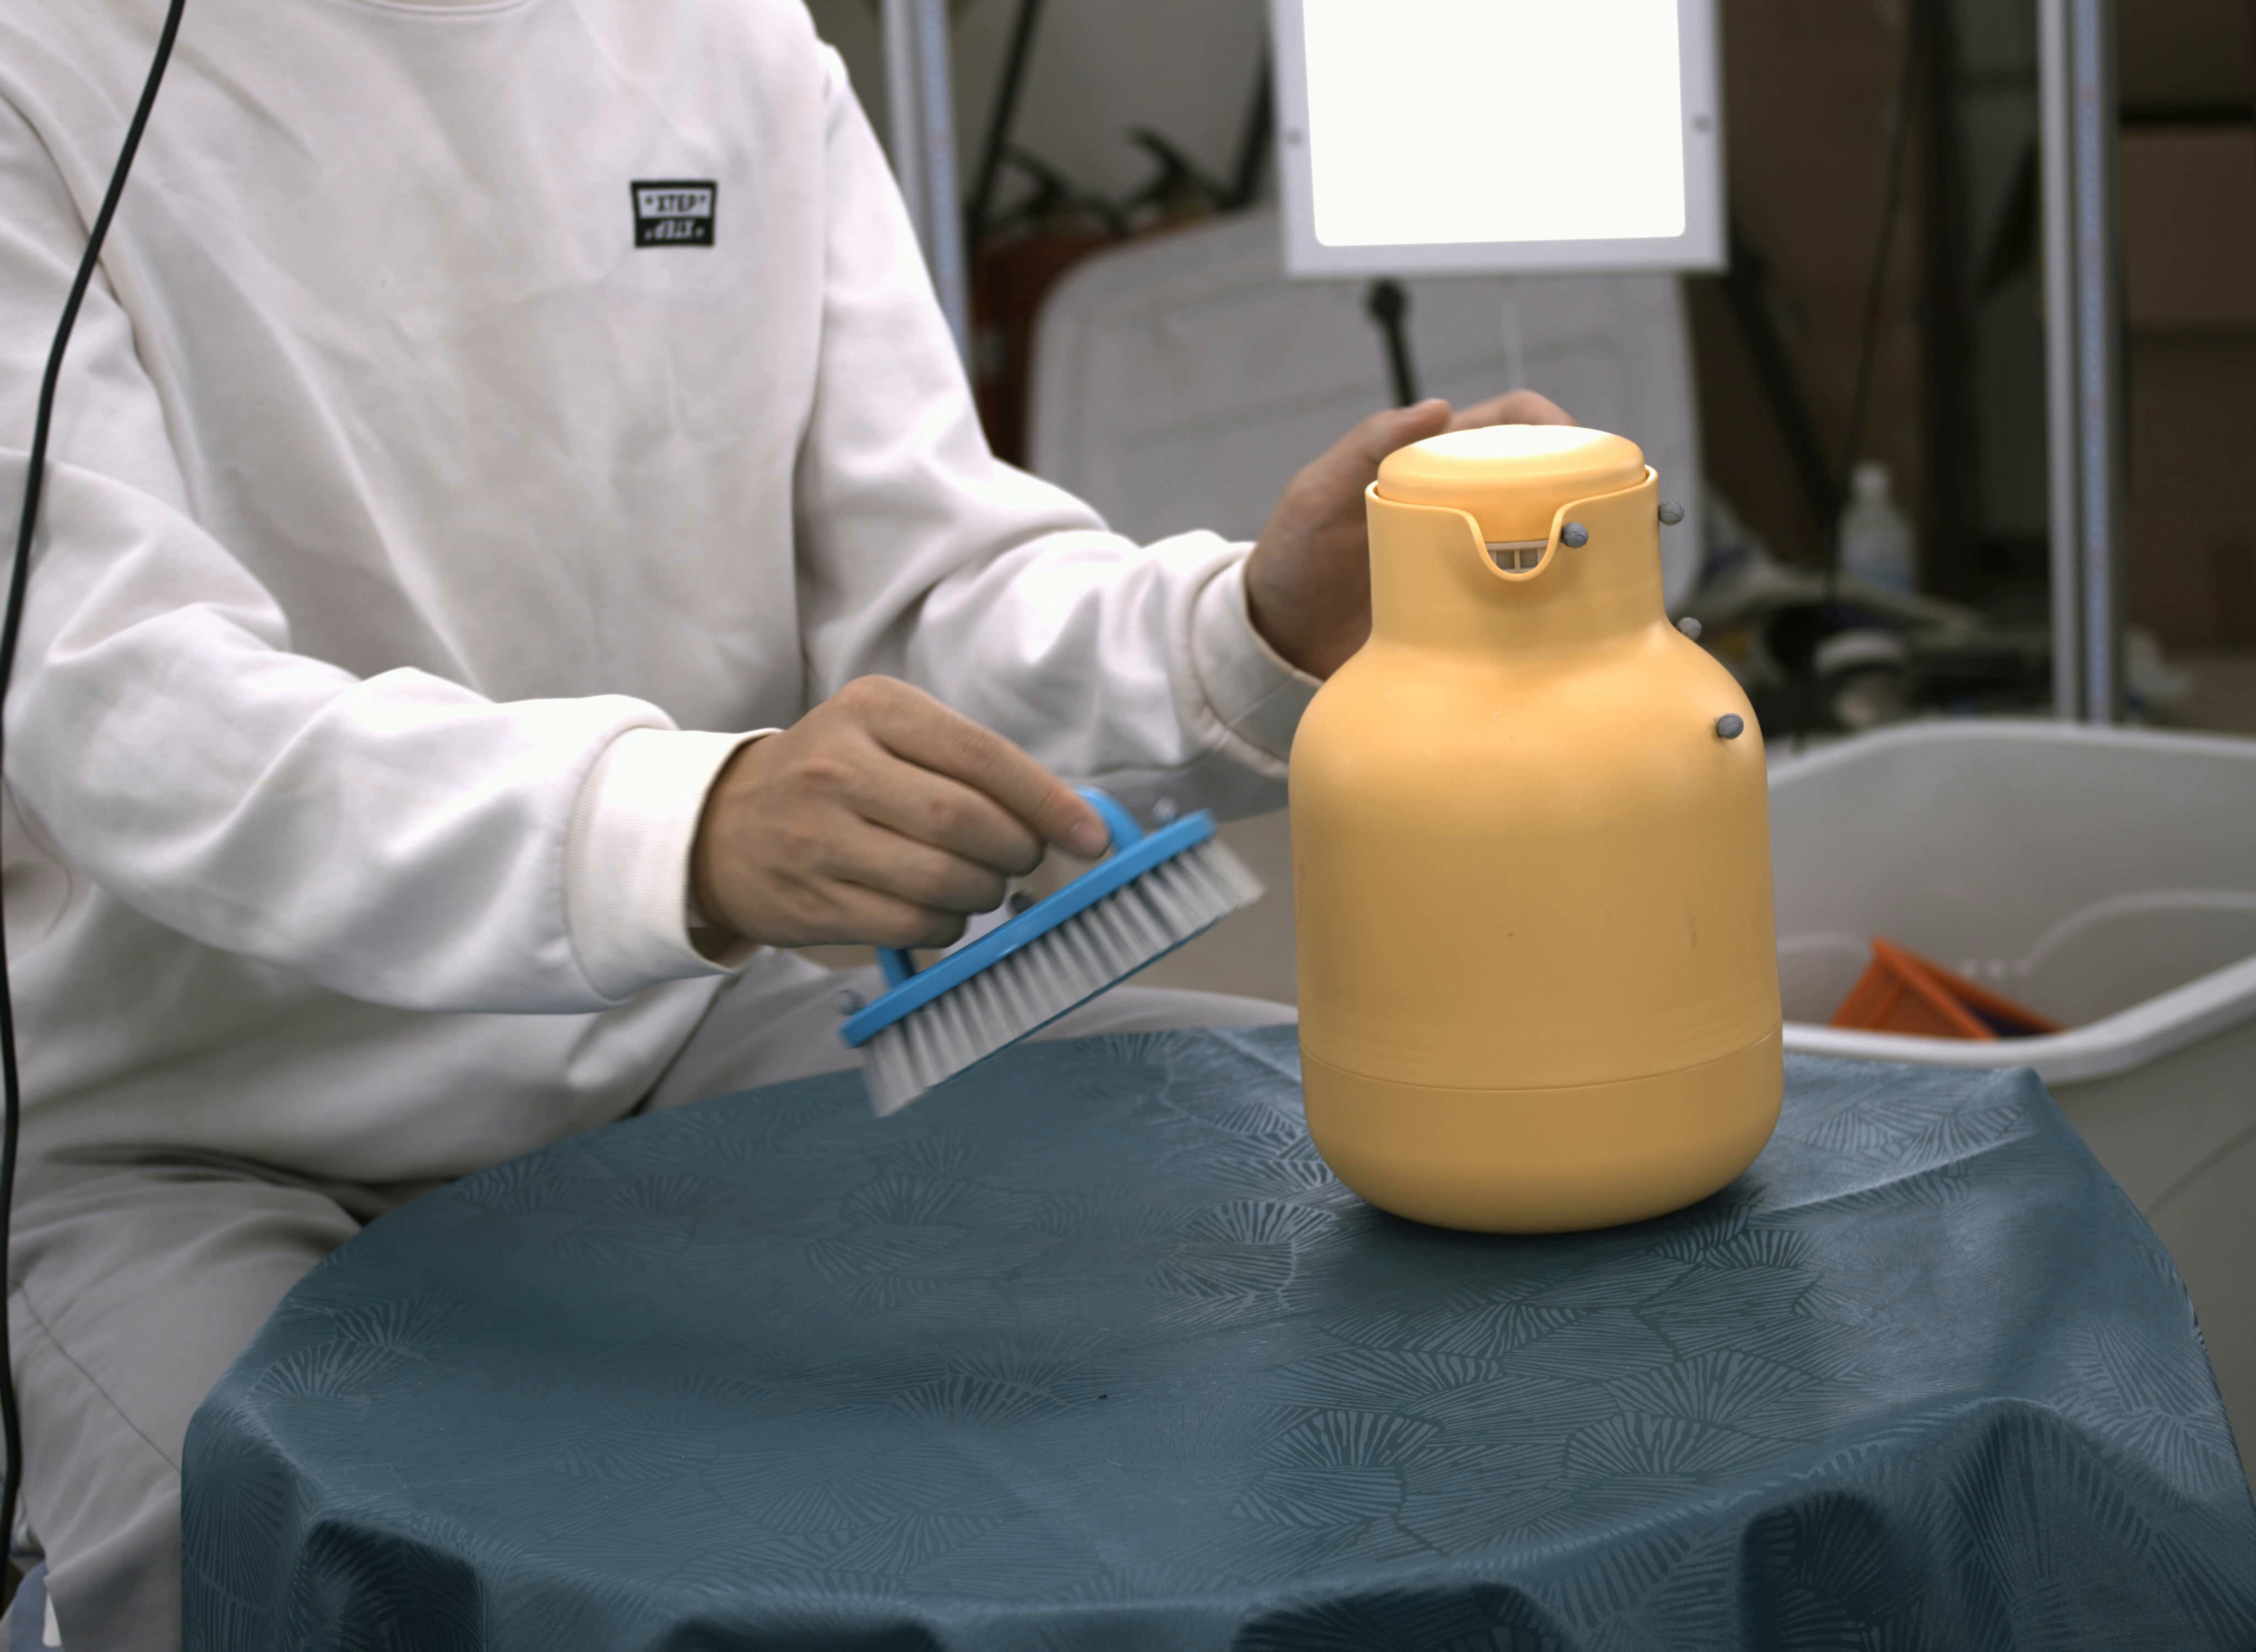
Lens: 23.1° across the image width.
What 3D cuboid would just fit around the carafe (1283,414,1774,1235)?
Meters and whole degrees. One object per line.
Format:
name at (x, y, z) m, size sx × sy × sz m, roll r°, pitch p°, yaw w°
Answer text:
carafe at (0.136, -0.009, 1.853) m, size 0.164 × 0.261 × 0.201 m, roll -1°, pitch 15°, yaw 6°

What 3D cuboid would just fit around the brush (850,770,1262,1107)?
brush at (-0.031, 0.027, 1.727) m, size 0.143 × 0.064 × 0.083 m, roll -34°, pitch 2°, yaw 16°
